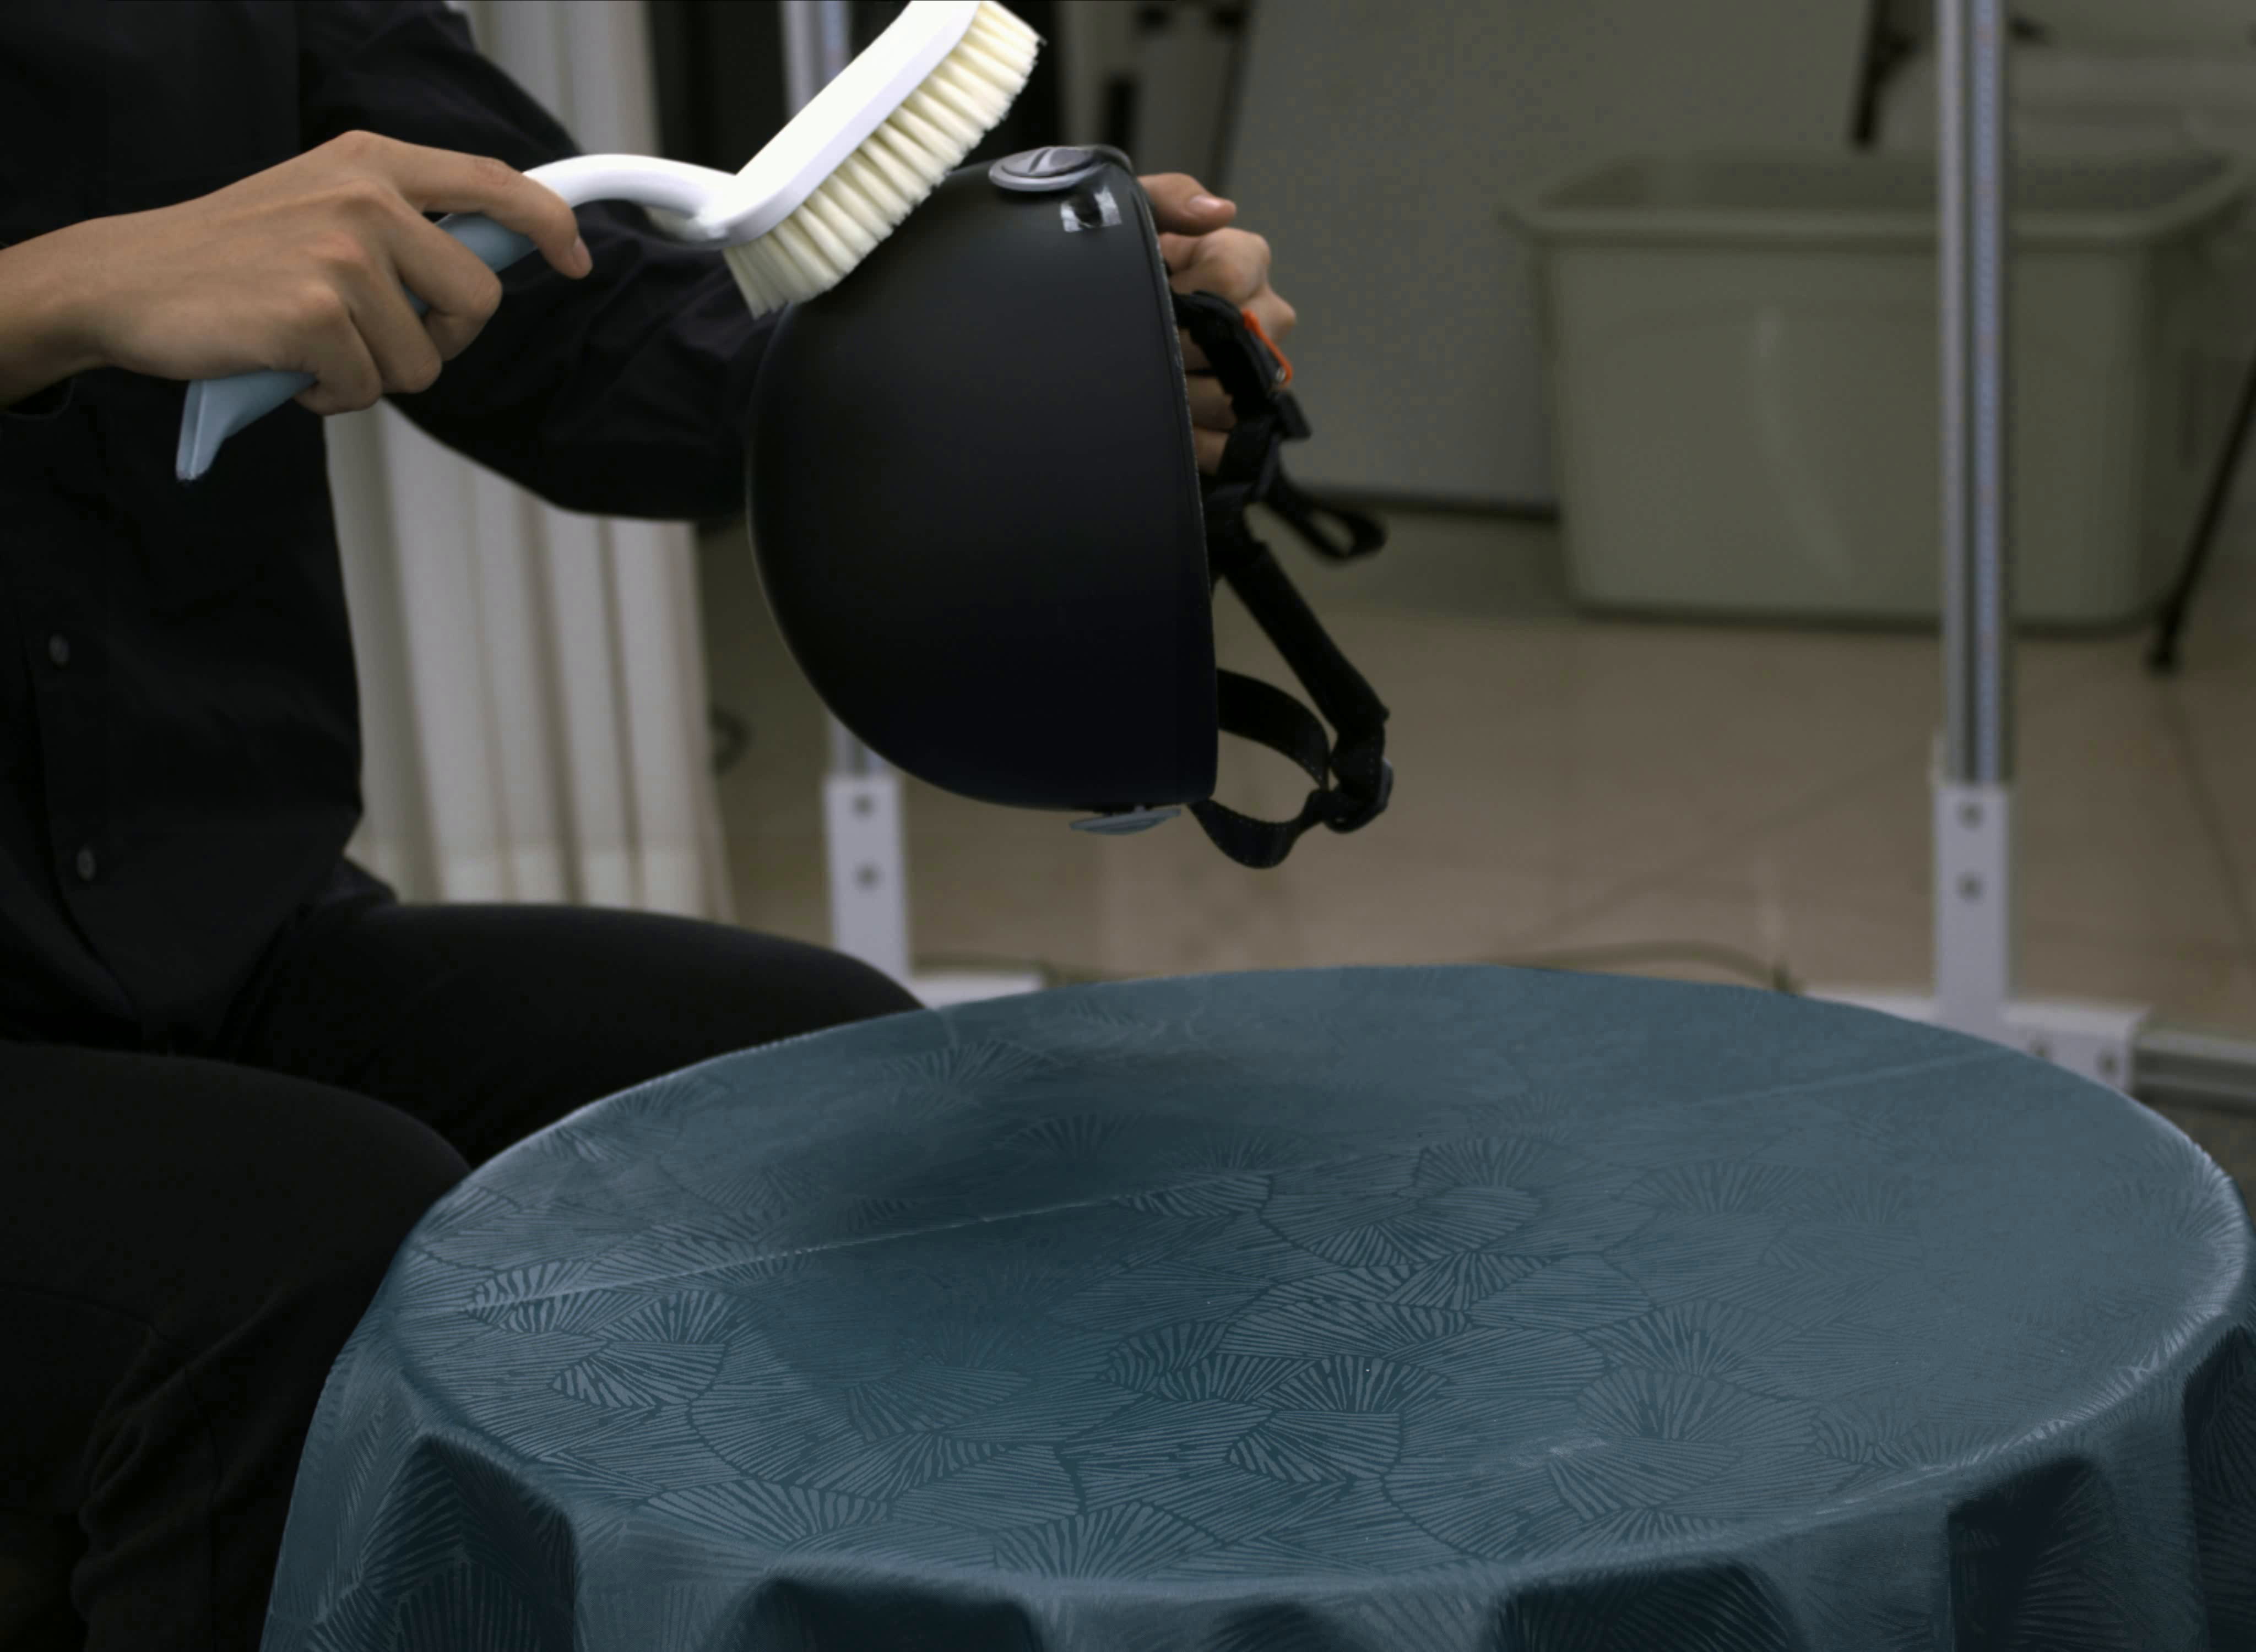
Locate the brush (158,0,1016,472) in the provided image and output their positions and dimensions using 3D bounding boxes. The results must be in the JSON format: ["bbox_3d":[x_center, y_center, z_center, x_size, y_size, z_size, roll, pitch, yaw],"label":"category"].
[{"bbox_3d":[-0.163,-0.177,1.743,0.322,0.083,0.085,-35,64,-18],"label":"brush"}]

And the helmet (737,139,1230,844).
[{"bbox_3d":[-0.049,-0.111,1.811,0.165,0.232,0.273,-8,12,2],"label":"helmet"}]
